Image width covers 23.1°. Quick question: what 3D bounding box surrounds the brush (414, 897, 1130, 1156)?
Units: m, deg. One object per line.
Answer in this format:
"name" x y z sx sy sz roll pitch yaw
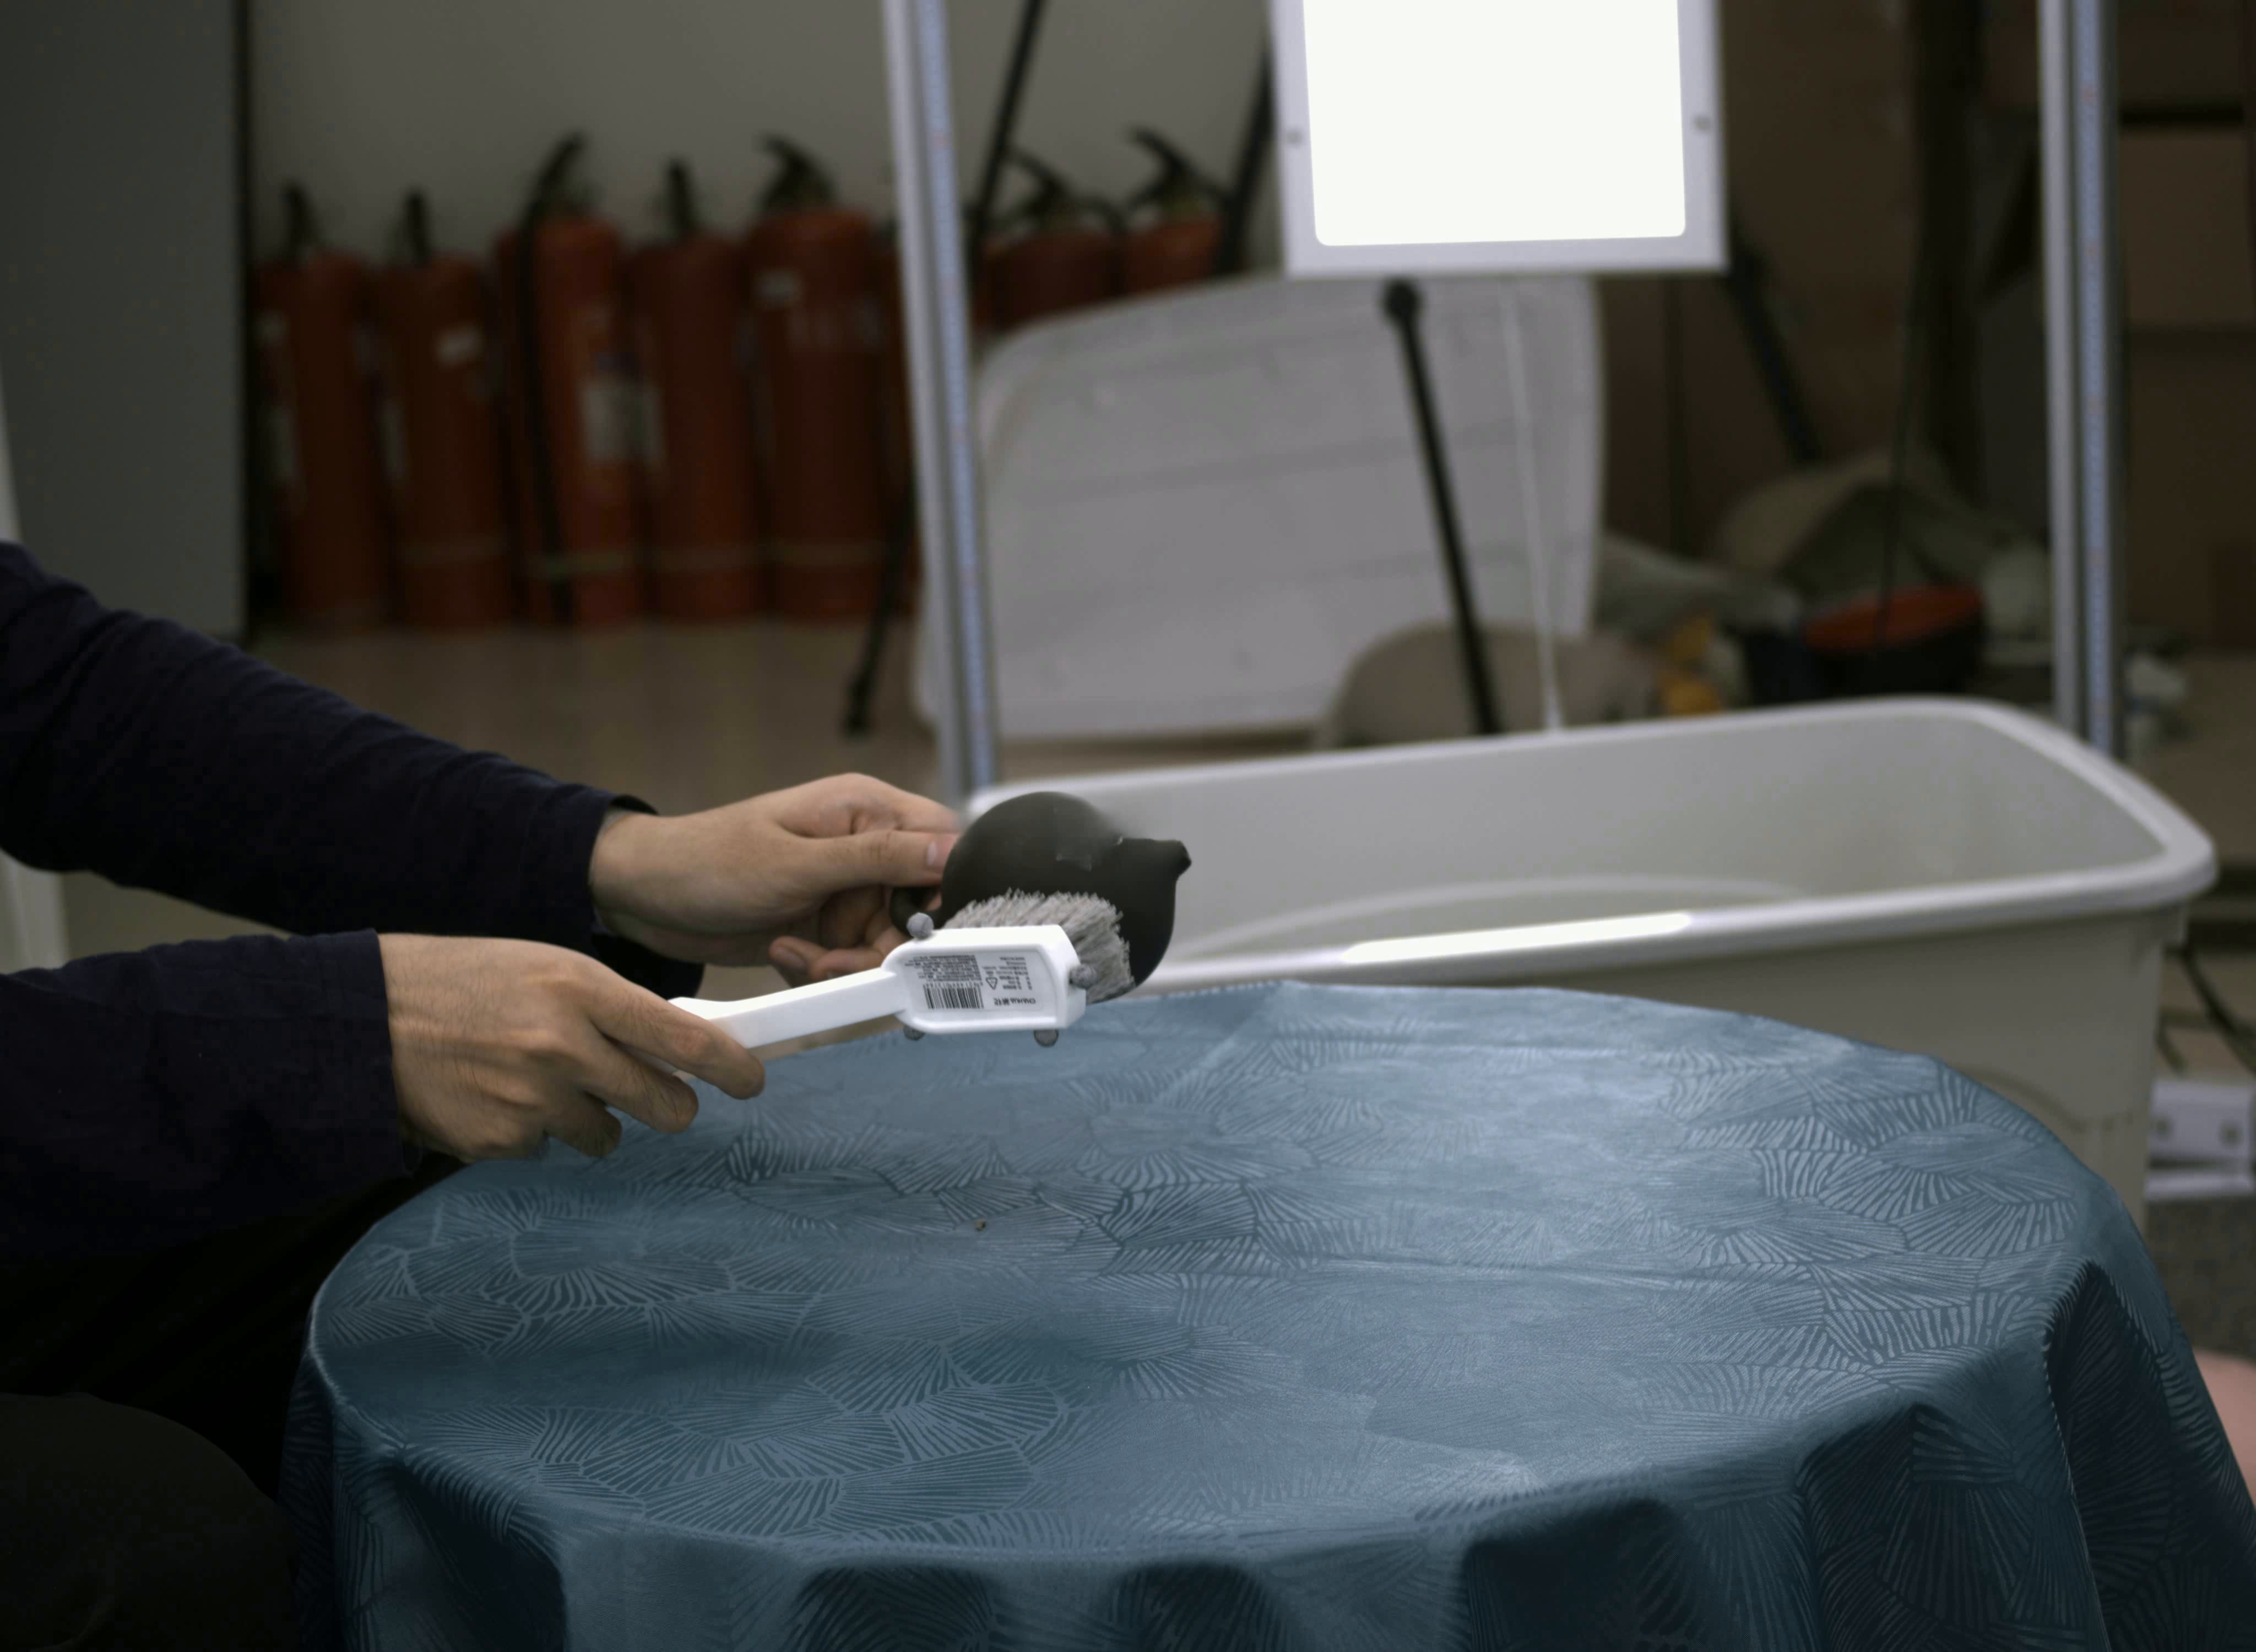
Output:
"brush" -0.117 0.066 1.800 0.246 0.034 0.049 -15 9 18

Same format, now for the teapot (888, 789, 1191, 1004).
"teapot" -0.033 0.024 1.899 0.116 0.082 0.052 -1 53 35
